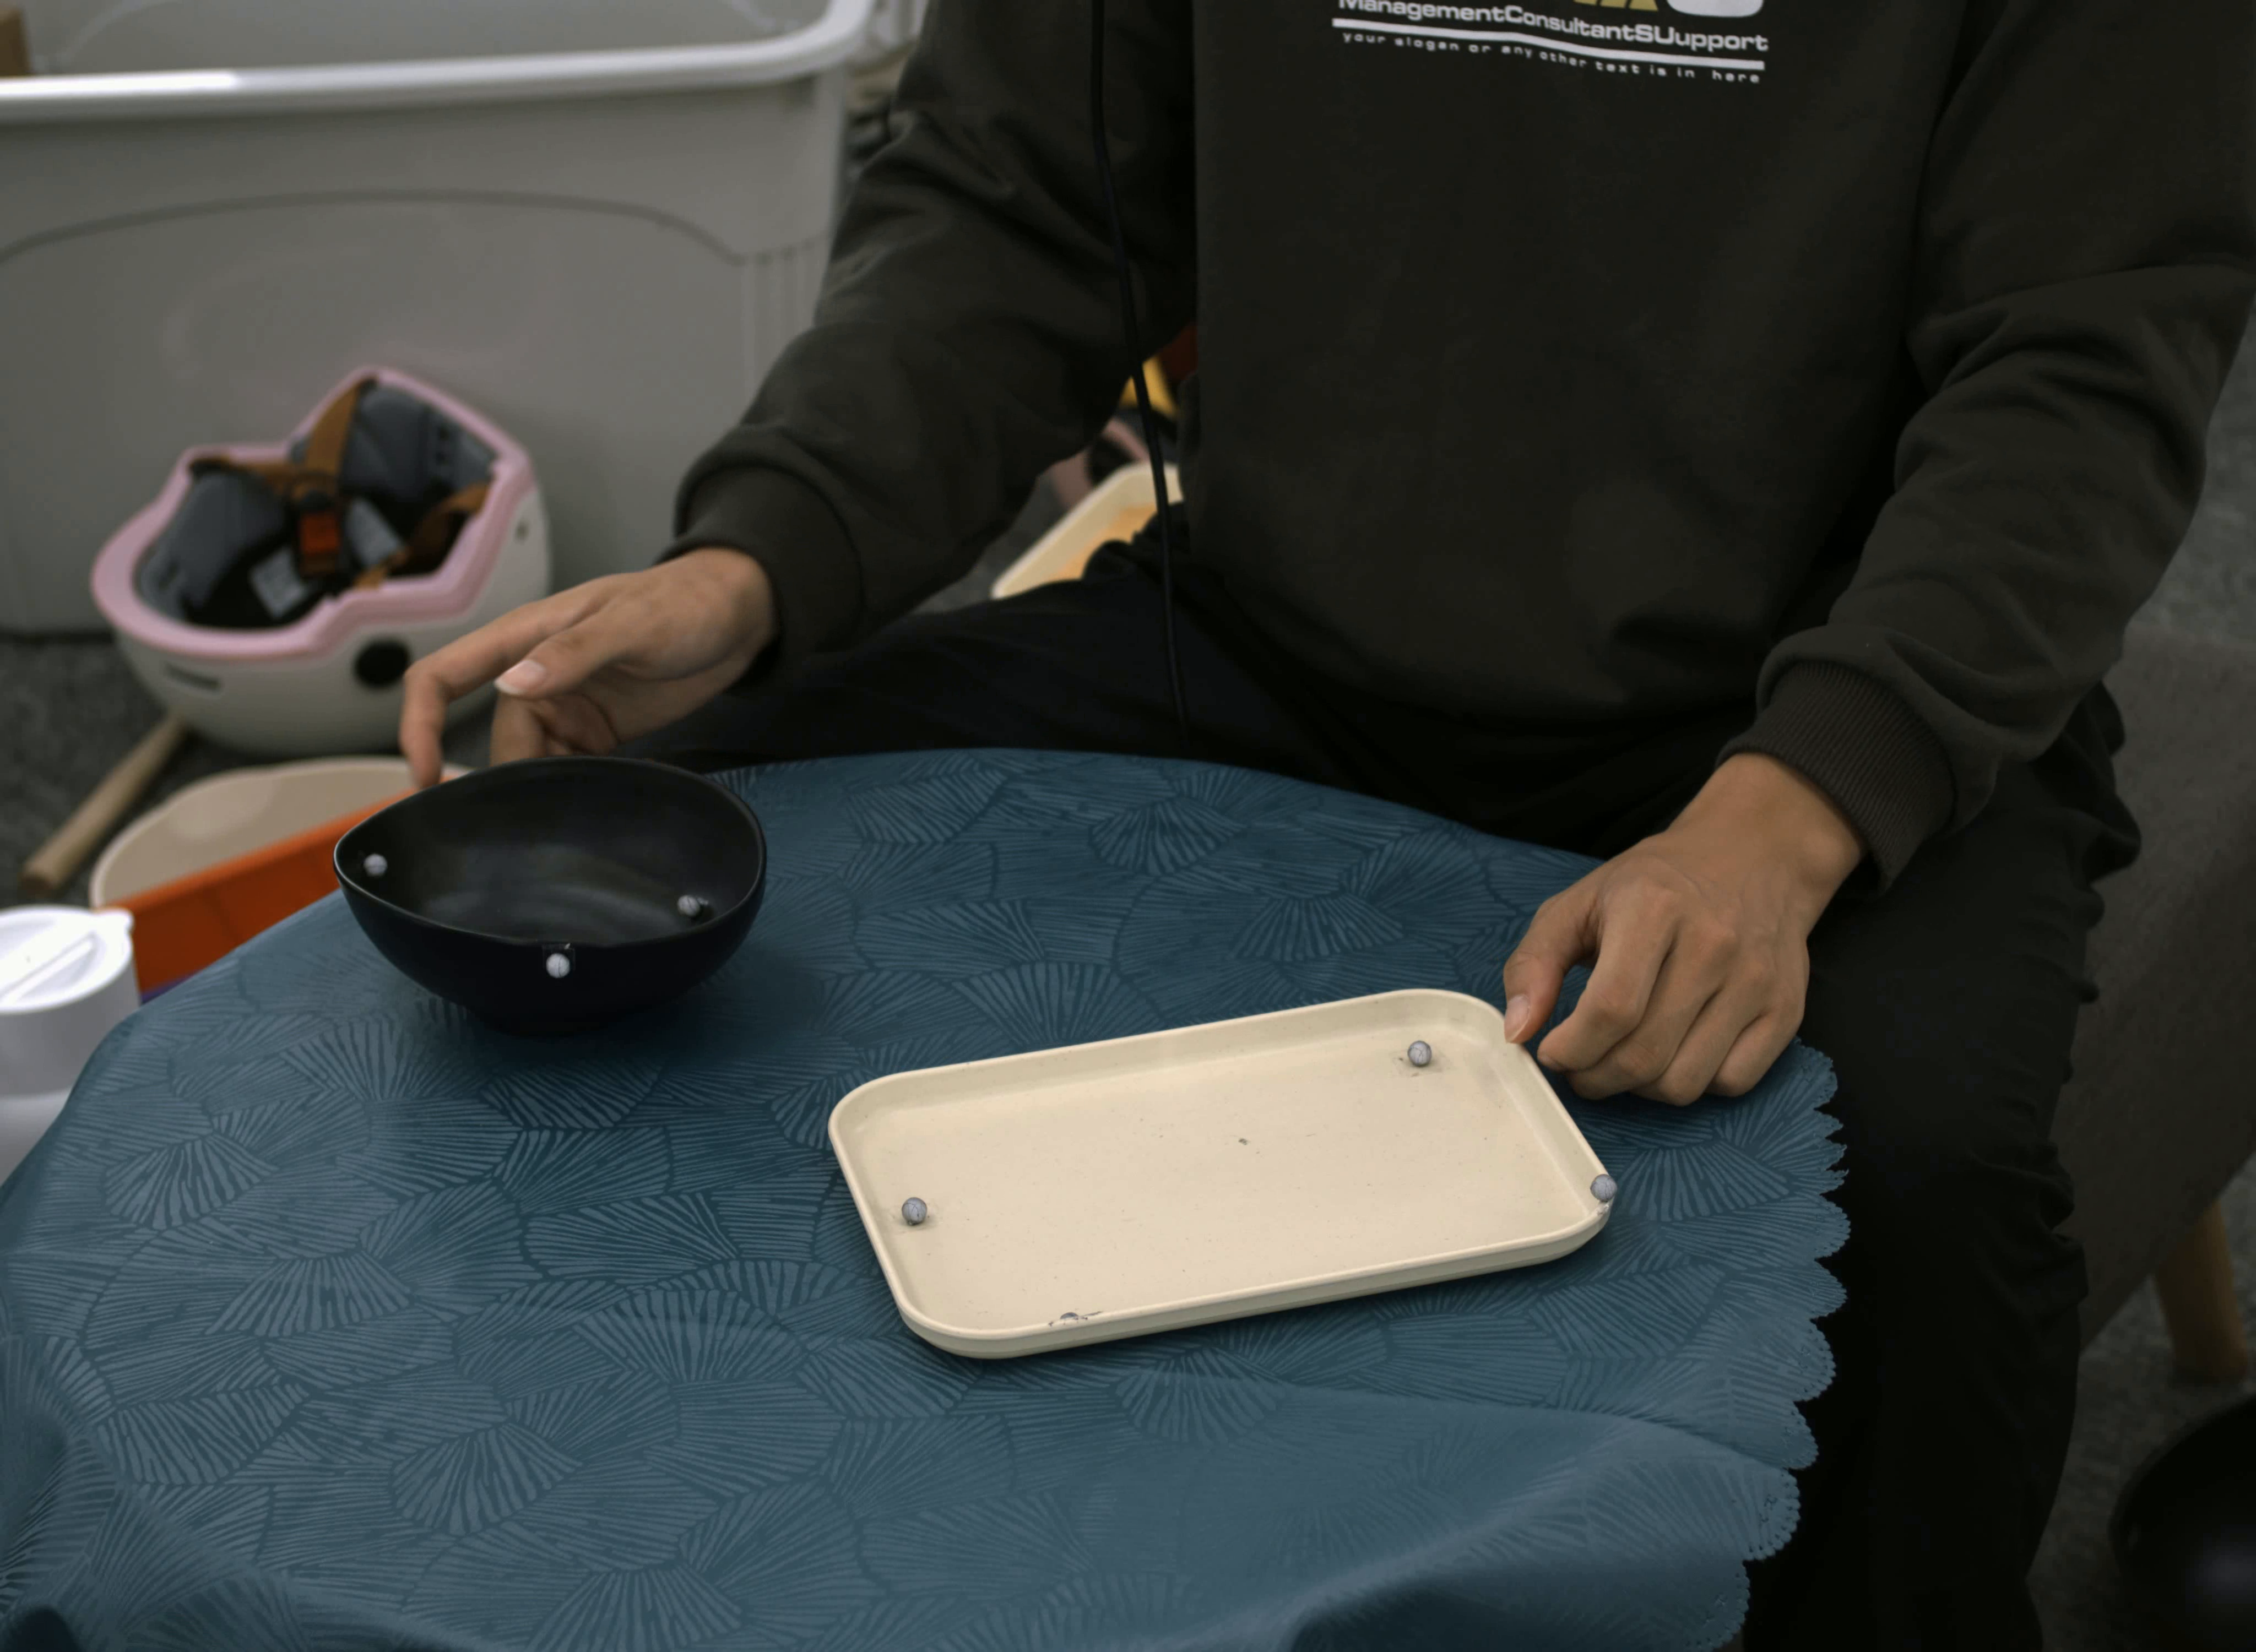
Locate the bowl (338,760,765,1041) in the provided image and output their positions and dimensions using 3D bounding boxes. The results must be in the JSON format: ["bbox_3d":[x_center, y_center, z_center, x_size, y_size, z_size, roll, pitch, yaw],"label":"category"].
[{"bbox_3d":[-0.203,0.034,1.985,0.169,0.066,0.139,16,31,35],"label":"bowl"}]

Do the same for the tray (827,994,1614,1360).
[{"bbox_3d":[0.029,0.116,1.855,0.239,0.017,0.173,-9,27,-12],"label":"tray"}]
